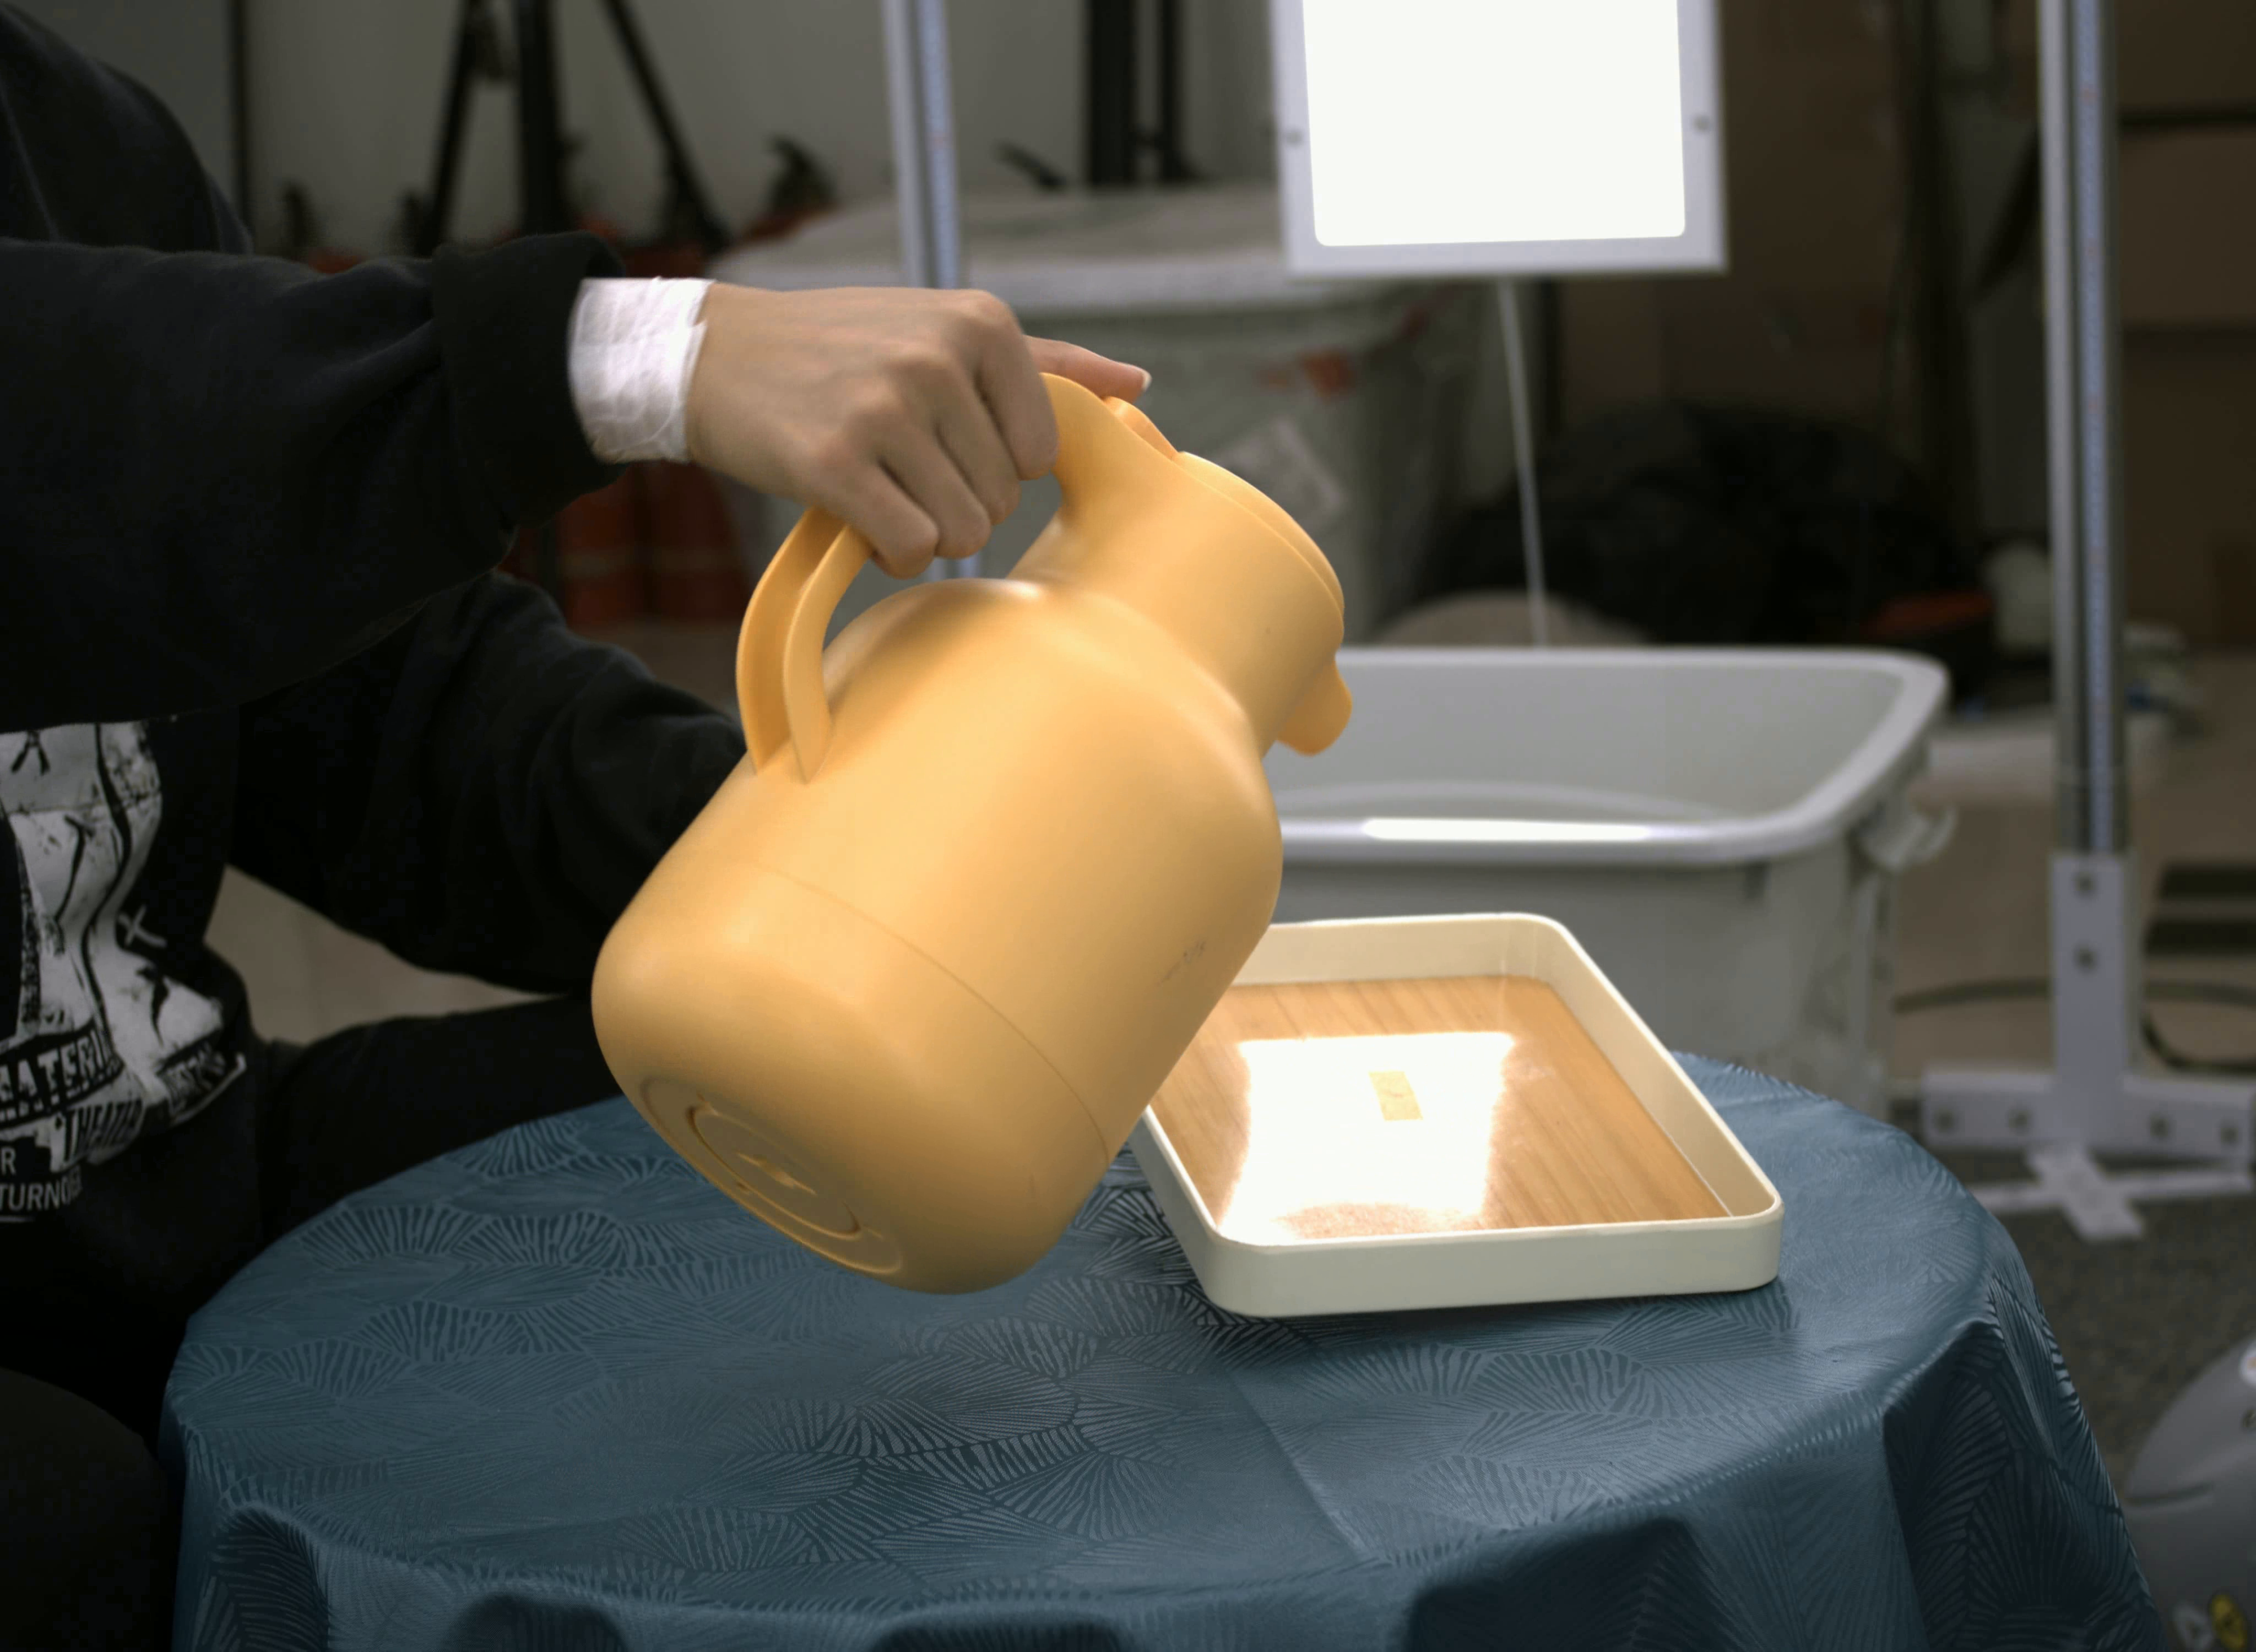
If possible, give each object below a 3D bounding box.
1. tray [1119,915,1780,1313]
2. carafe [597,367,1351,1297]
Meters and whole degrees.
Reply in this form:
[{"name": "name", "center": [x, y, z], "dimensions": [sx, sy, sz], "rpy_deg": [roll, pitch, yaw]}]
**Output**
[{"name": "tray", "center": [0.090, 0.093, 1.864], "dimensions": [0.189, 0.027, 0.302], "rpy_deg": [-2, 18, -10]}, {"name": "carafe", "center": [-0.047, -0.008, 1.663], "dimensions": [0.167, 0.200, 0.257], "rpy_deg": [4, 52, 51]}]
